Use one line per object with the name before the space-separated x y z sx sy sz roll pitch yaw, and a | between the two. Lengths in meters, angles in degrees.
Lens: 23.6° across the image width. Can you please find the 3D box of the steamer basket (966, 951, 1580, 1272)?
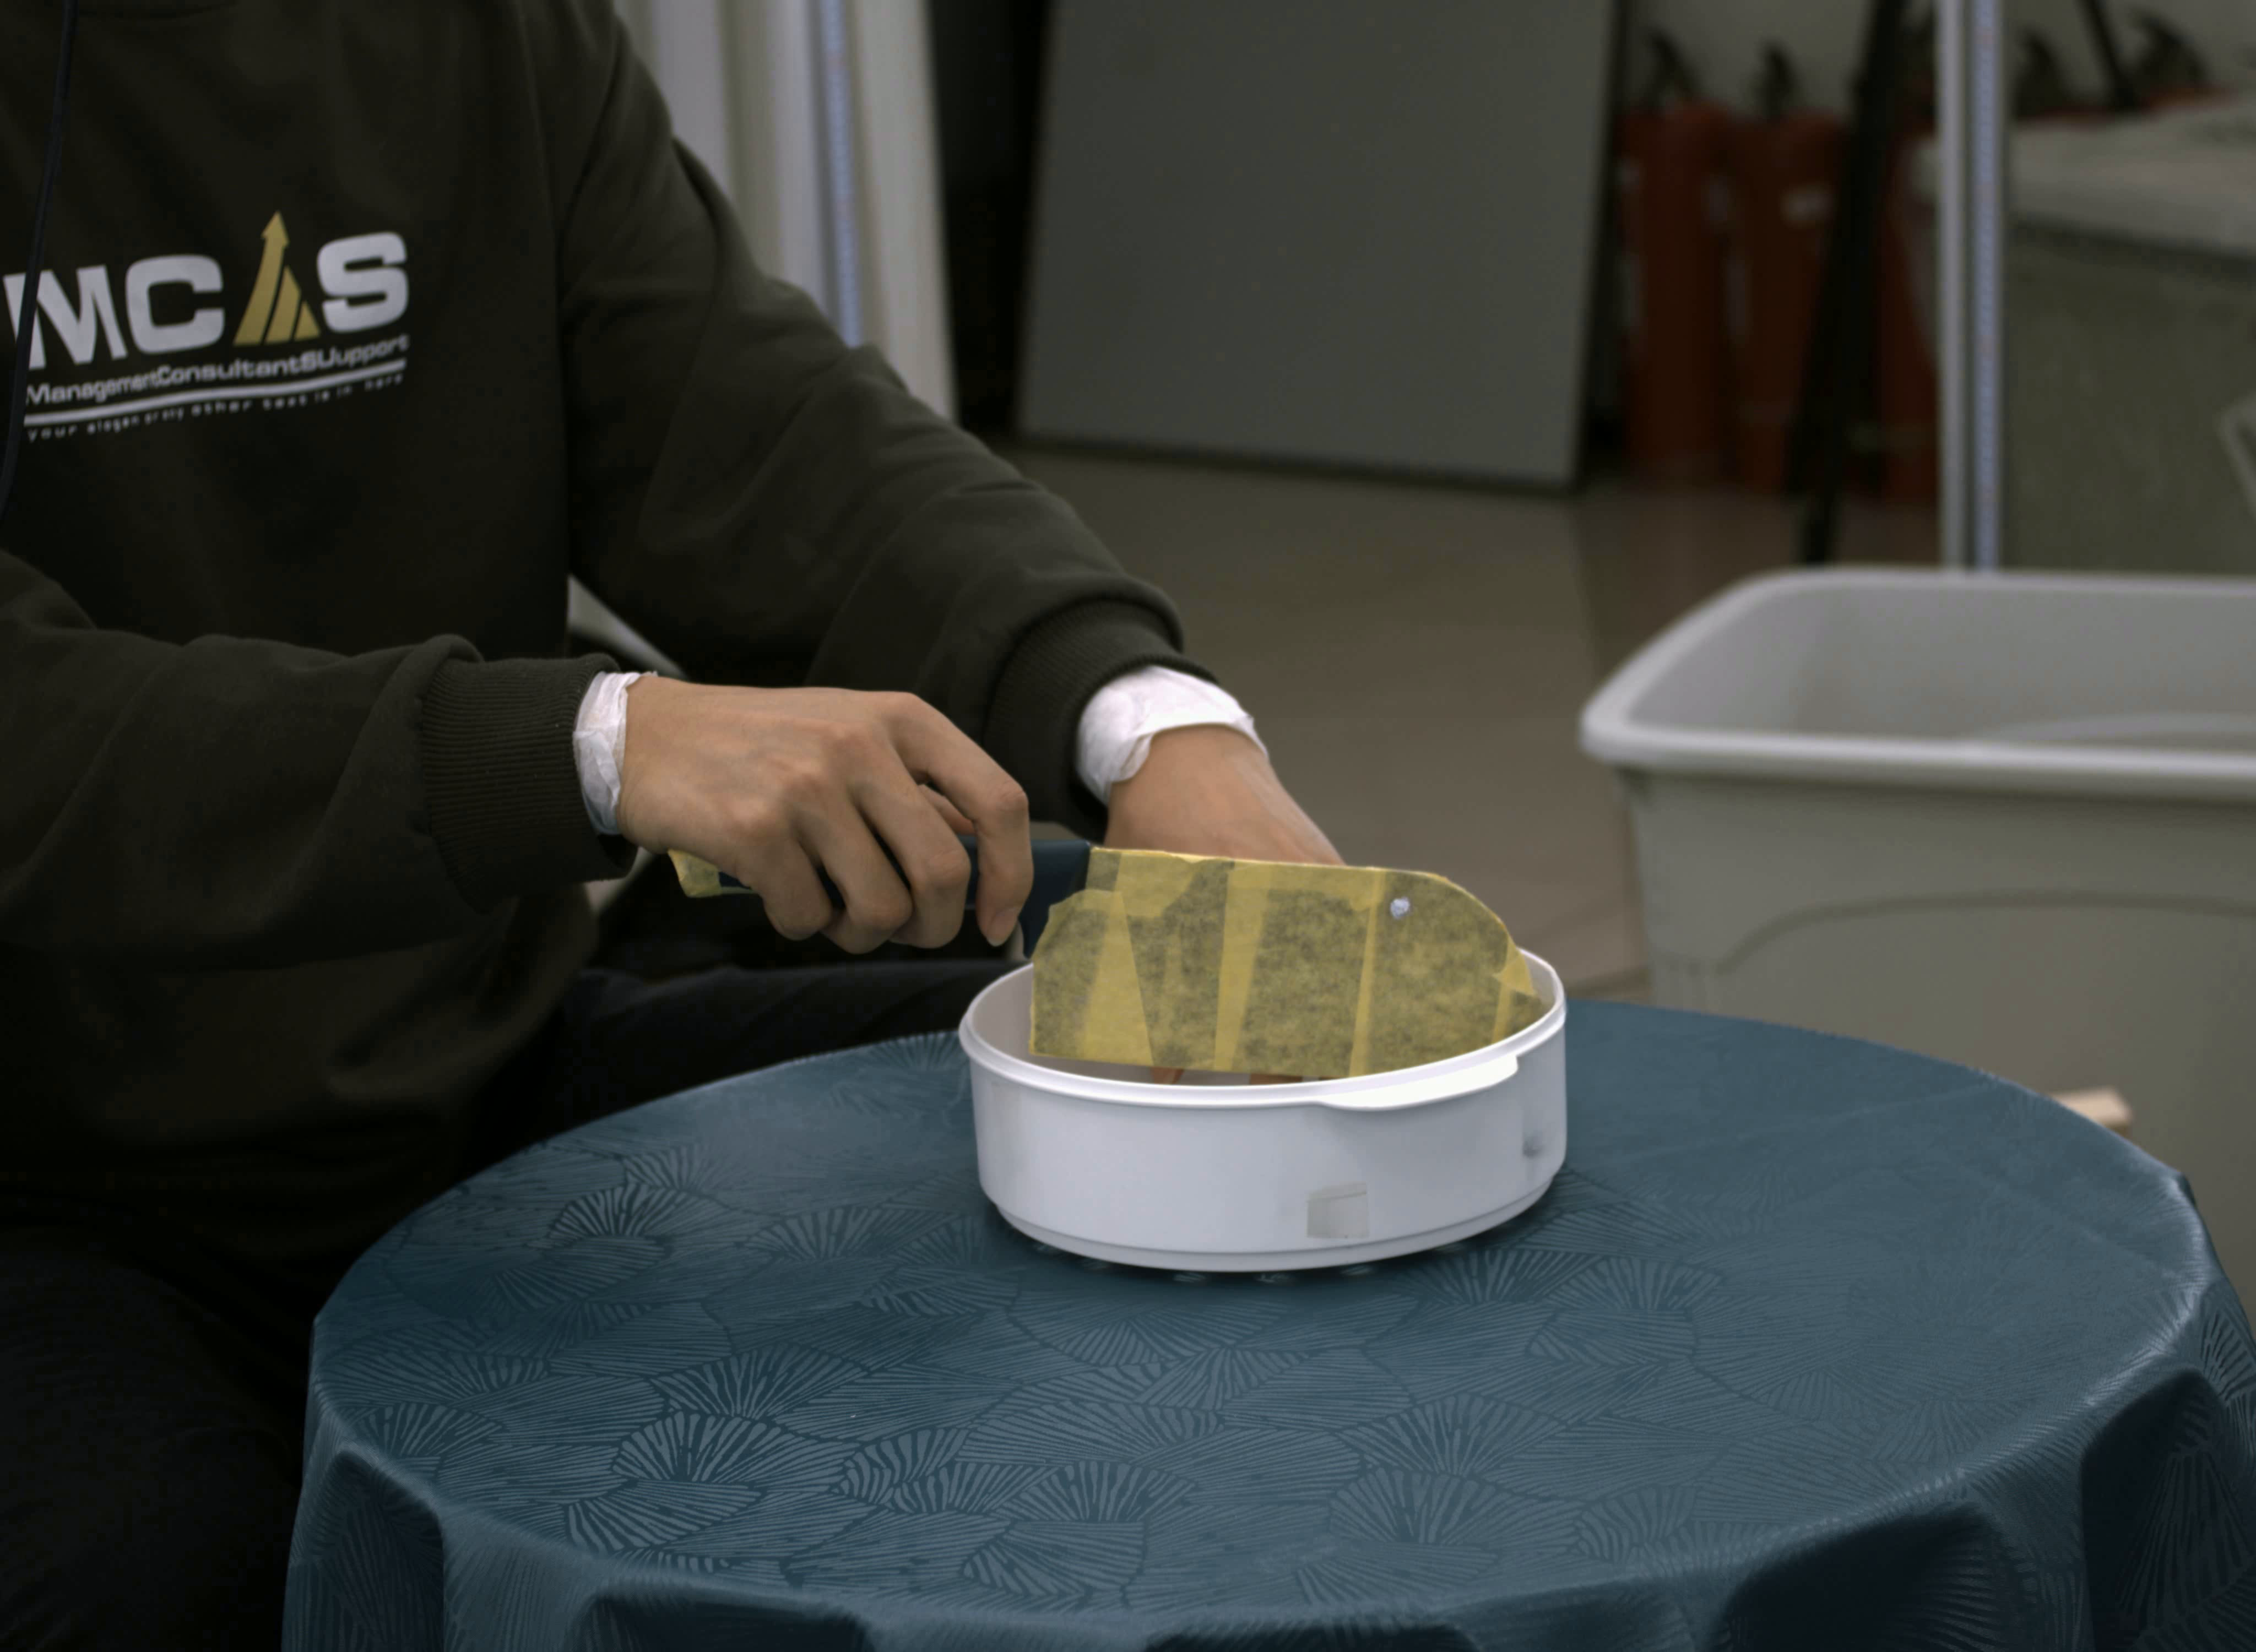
steamer basket | 0.049 0.090 1.748 0.197 0.070 0.233 -10 13 -26

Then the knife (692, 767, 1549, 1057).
knife | -0.002 0.029 1.722 0.285 0.082 0.027 12 26 -6
